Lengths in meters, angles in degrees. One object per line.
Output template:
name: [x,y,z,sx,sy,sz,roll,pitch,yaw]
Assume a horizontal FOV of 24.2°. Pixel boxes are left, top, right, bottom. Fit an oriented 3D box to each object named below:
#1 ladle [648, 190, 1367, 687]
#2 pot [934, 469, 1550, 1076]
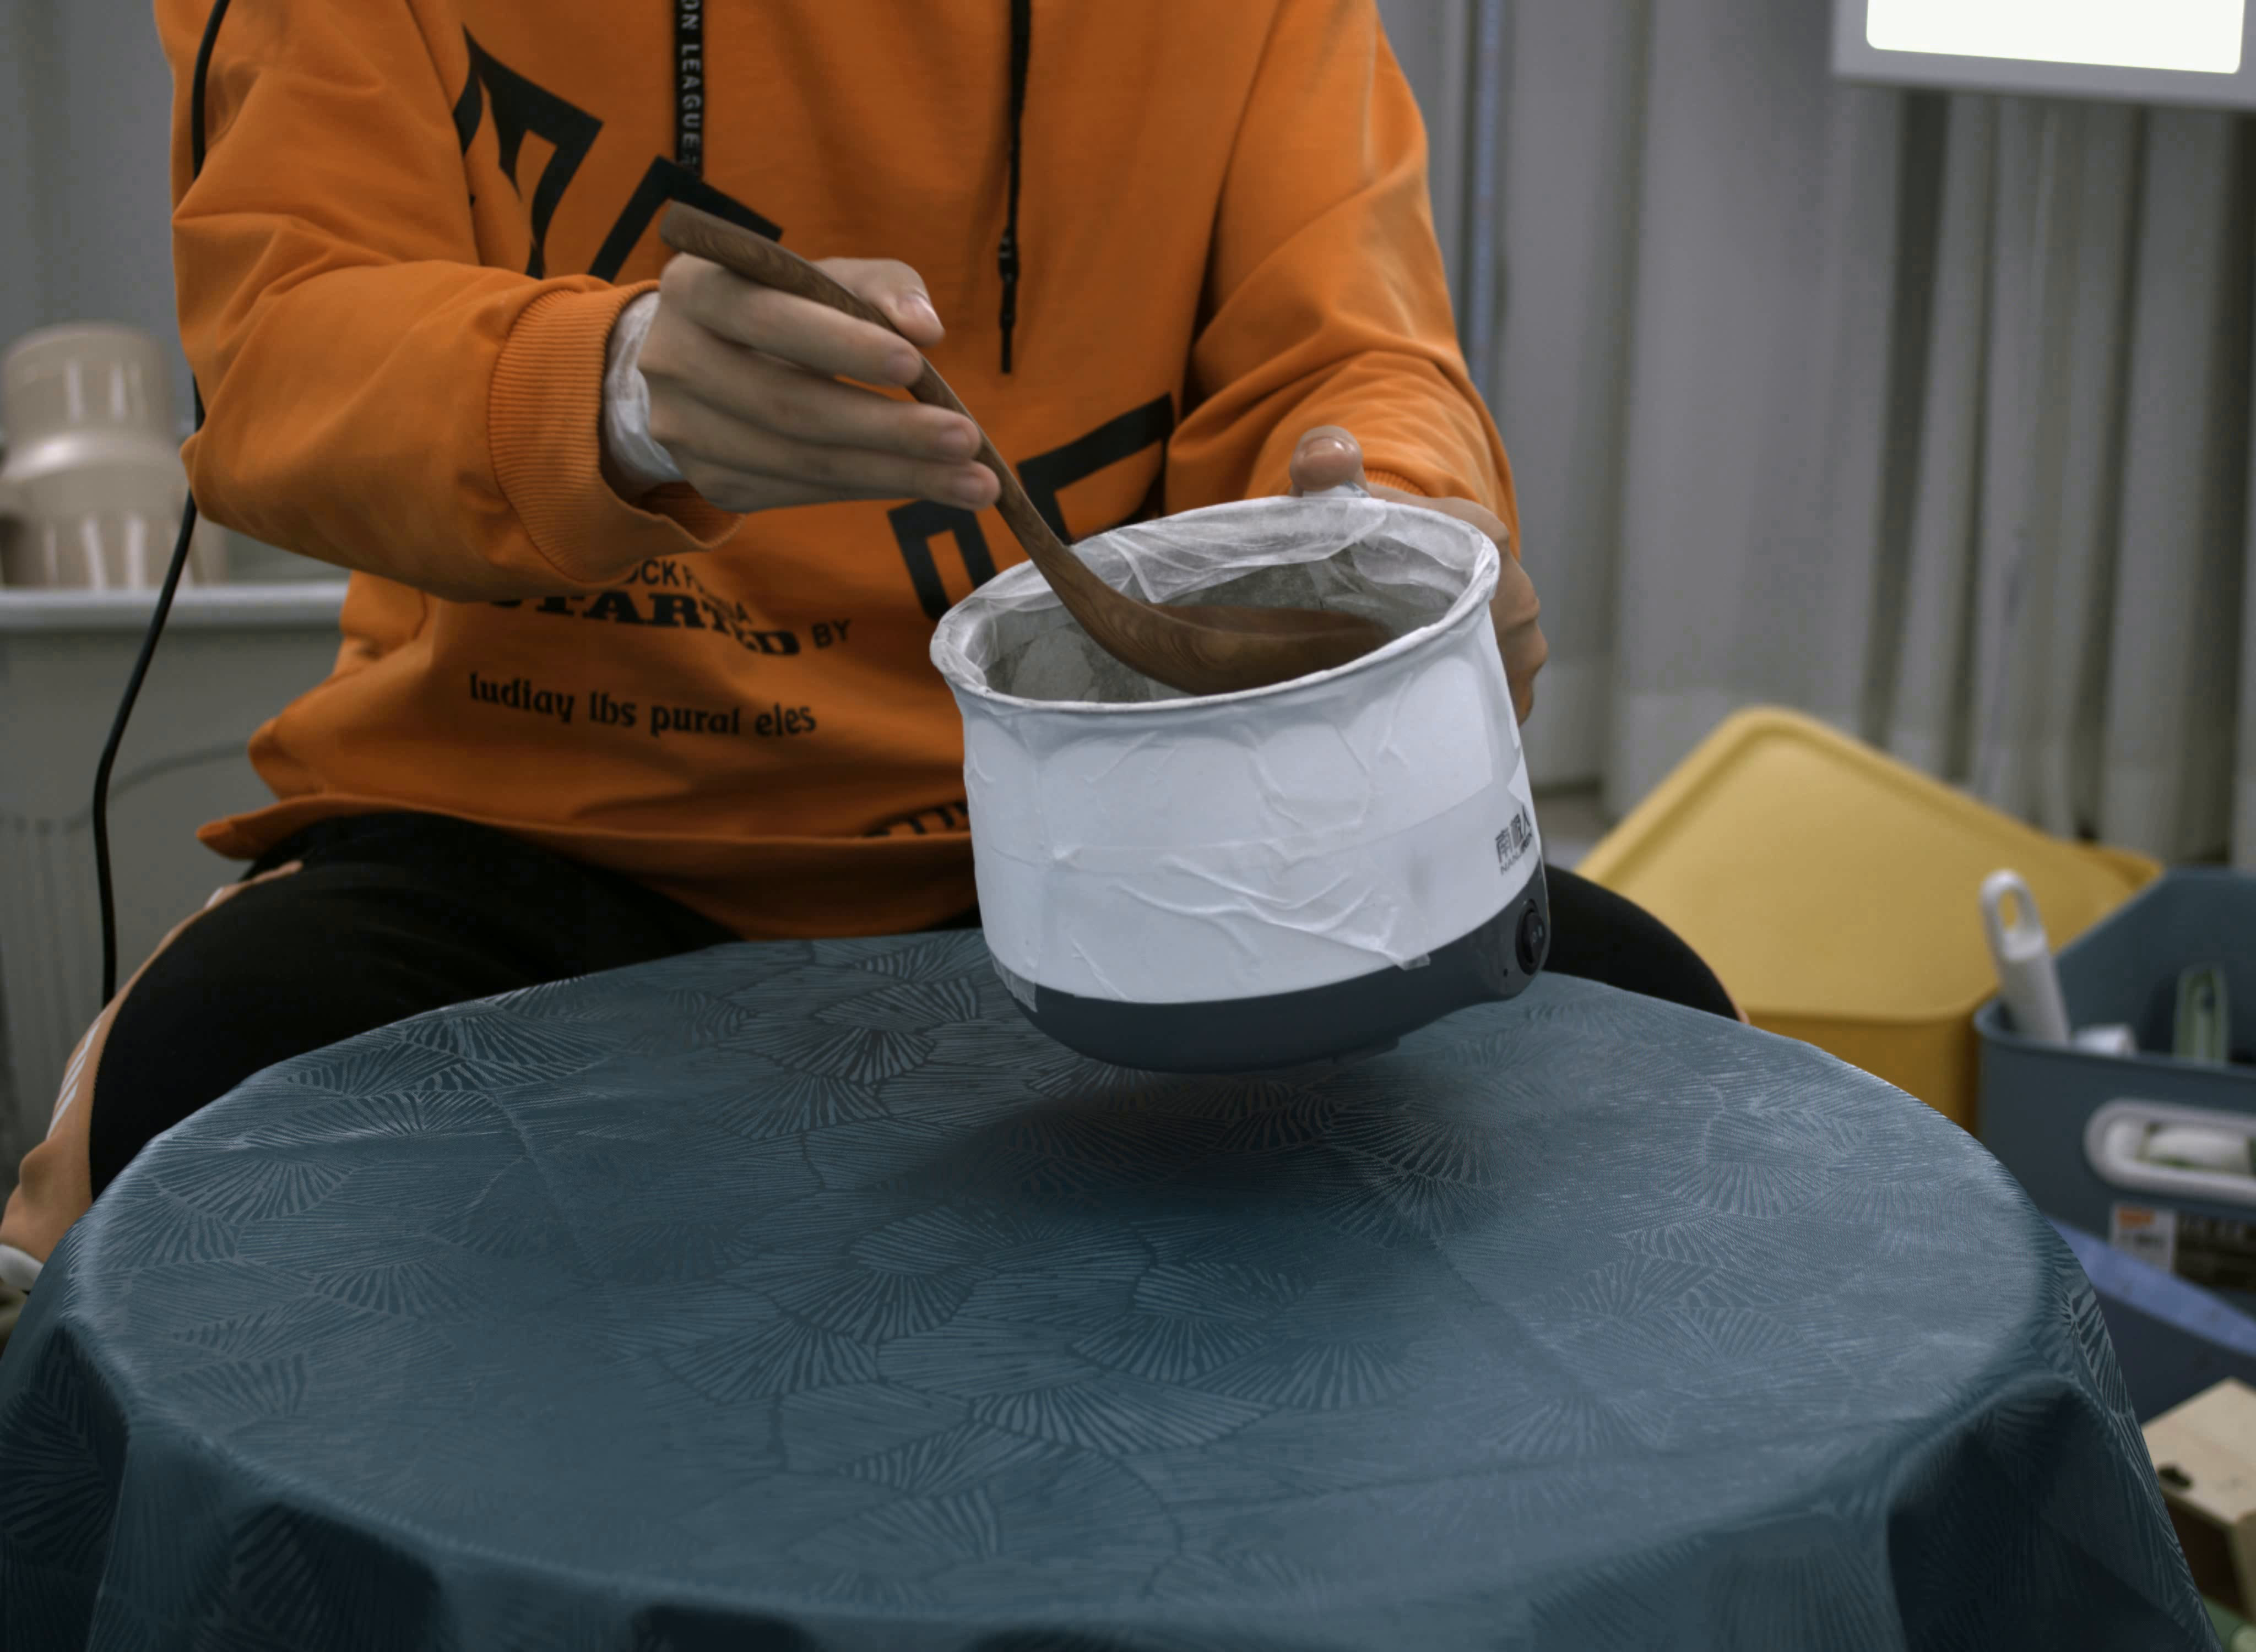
ladle: [-0.034,-0.124,1.621,0.262,0.065,0.076,43,-5,-16]
pot: [0.047,-0.023,1.659,0.177,0.138,0.233,0,24,22]
